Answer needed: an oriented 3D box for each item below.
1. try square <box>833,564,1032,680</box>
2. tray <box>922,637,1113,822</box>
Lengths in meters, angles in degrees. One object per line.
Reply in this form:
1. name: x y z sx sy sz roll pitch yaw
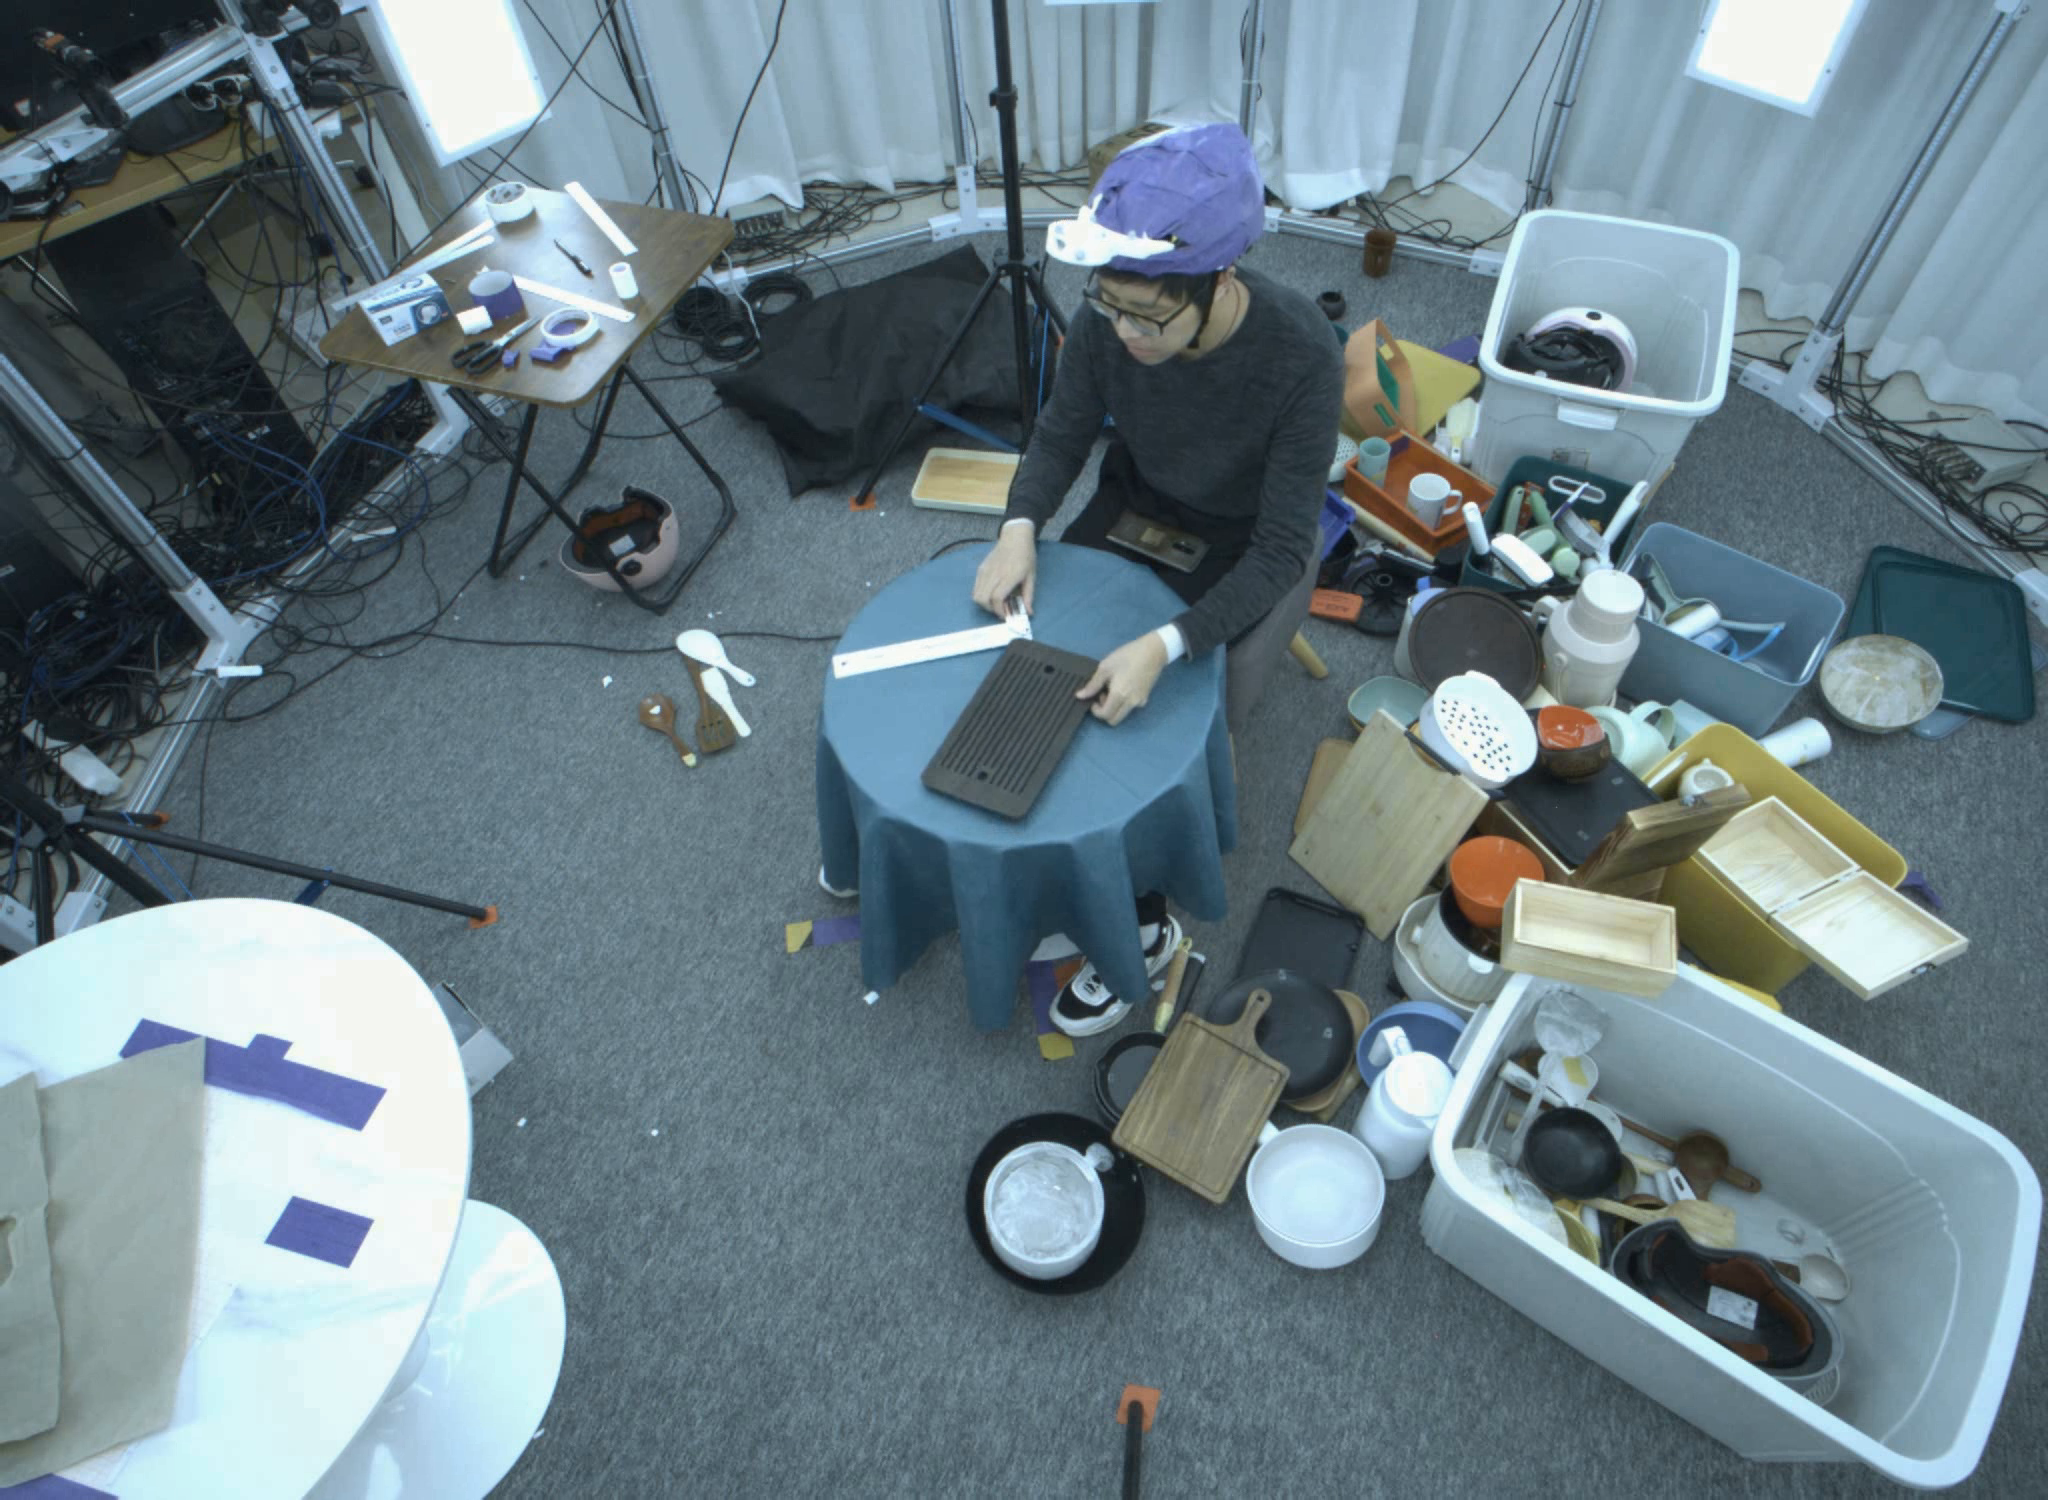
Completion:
1. try square: -0.152 -0.202 1.922 0.314 0.016 0.150 -11 60 -4
2. tray: -0.006 -0.035 1.798 0.168 0.019 0.306 20 58 19
